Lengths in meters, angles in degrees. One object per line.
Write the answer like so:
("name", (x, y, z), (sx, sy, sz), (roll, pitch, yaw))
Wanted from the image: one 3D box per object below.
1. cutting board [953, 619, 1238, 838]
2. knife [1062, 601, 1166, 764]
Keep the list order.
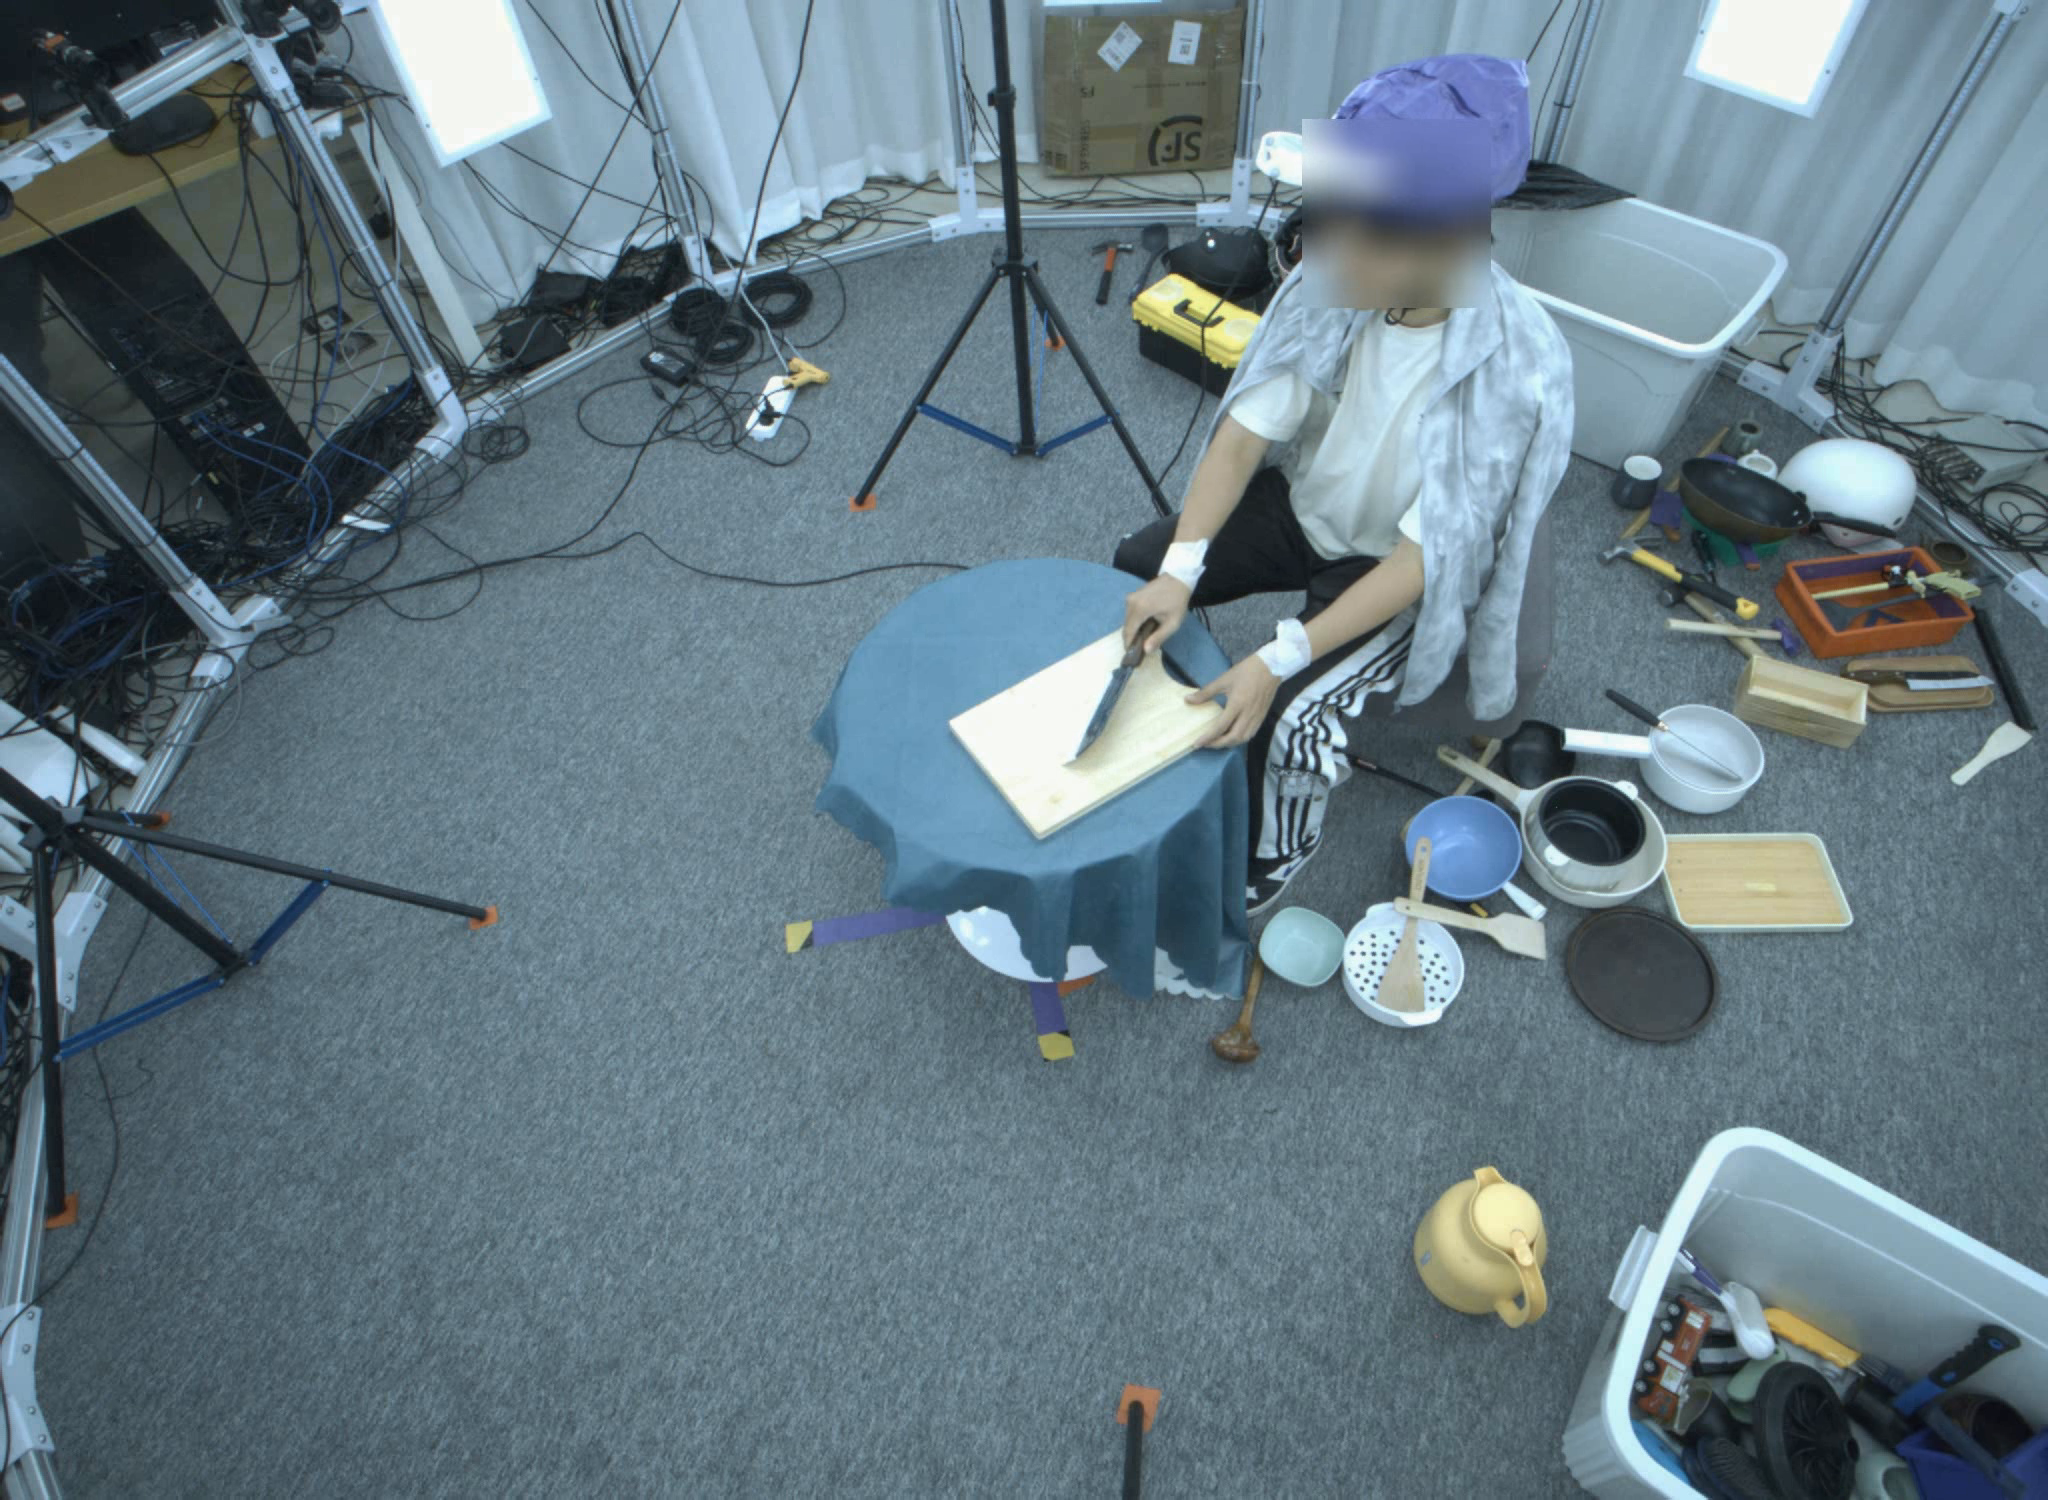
("cutting board", (0.101, -0.040, 1.805), (0.351, 0.024, 0.246), (-30, 60, -18))
("knife", (0.131, -0.101, 1.799), (0.067, 0.024, 0.299), (-11, 44, 52))
